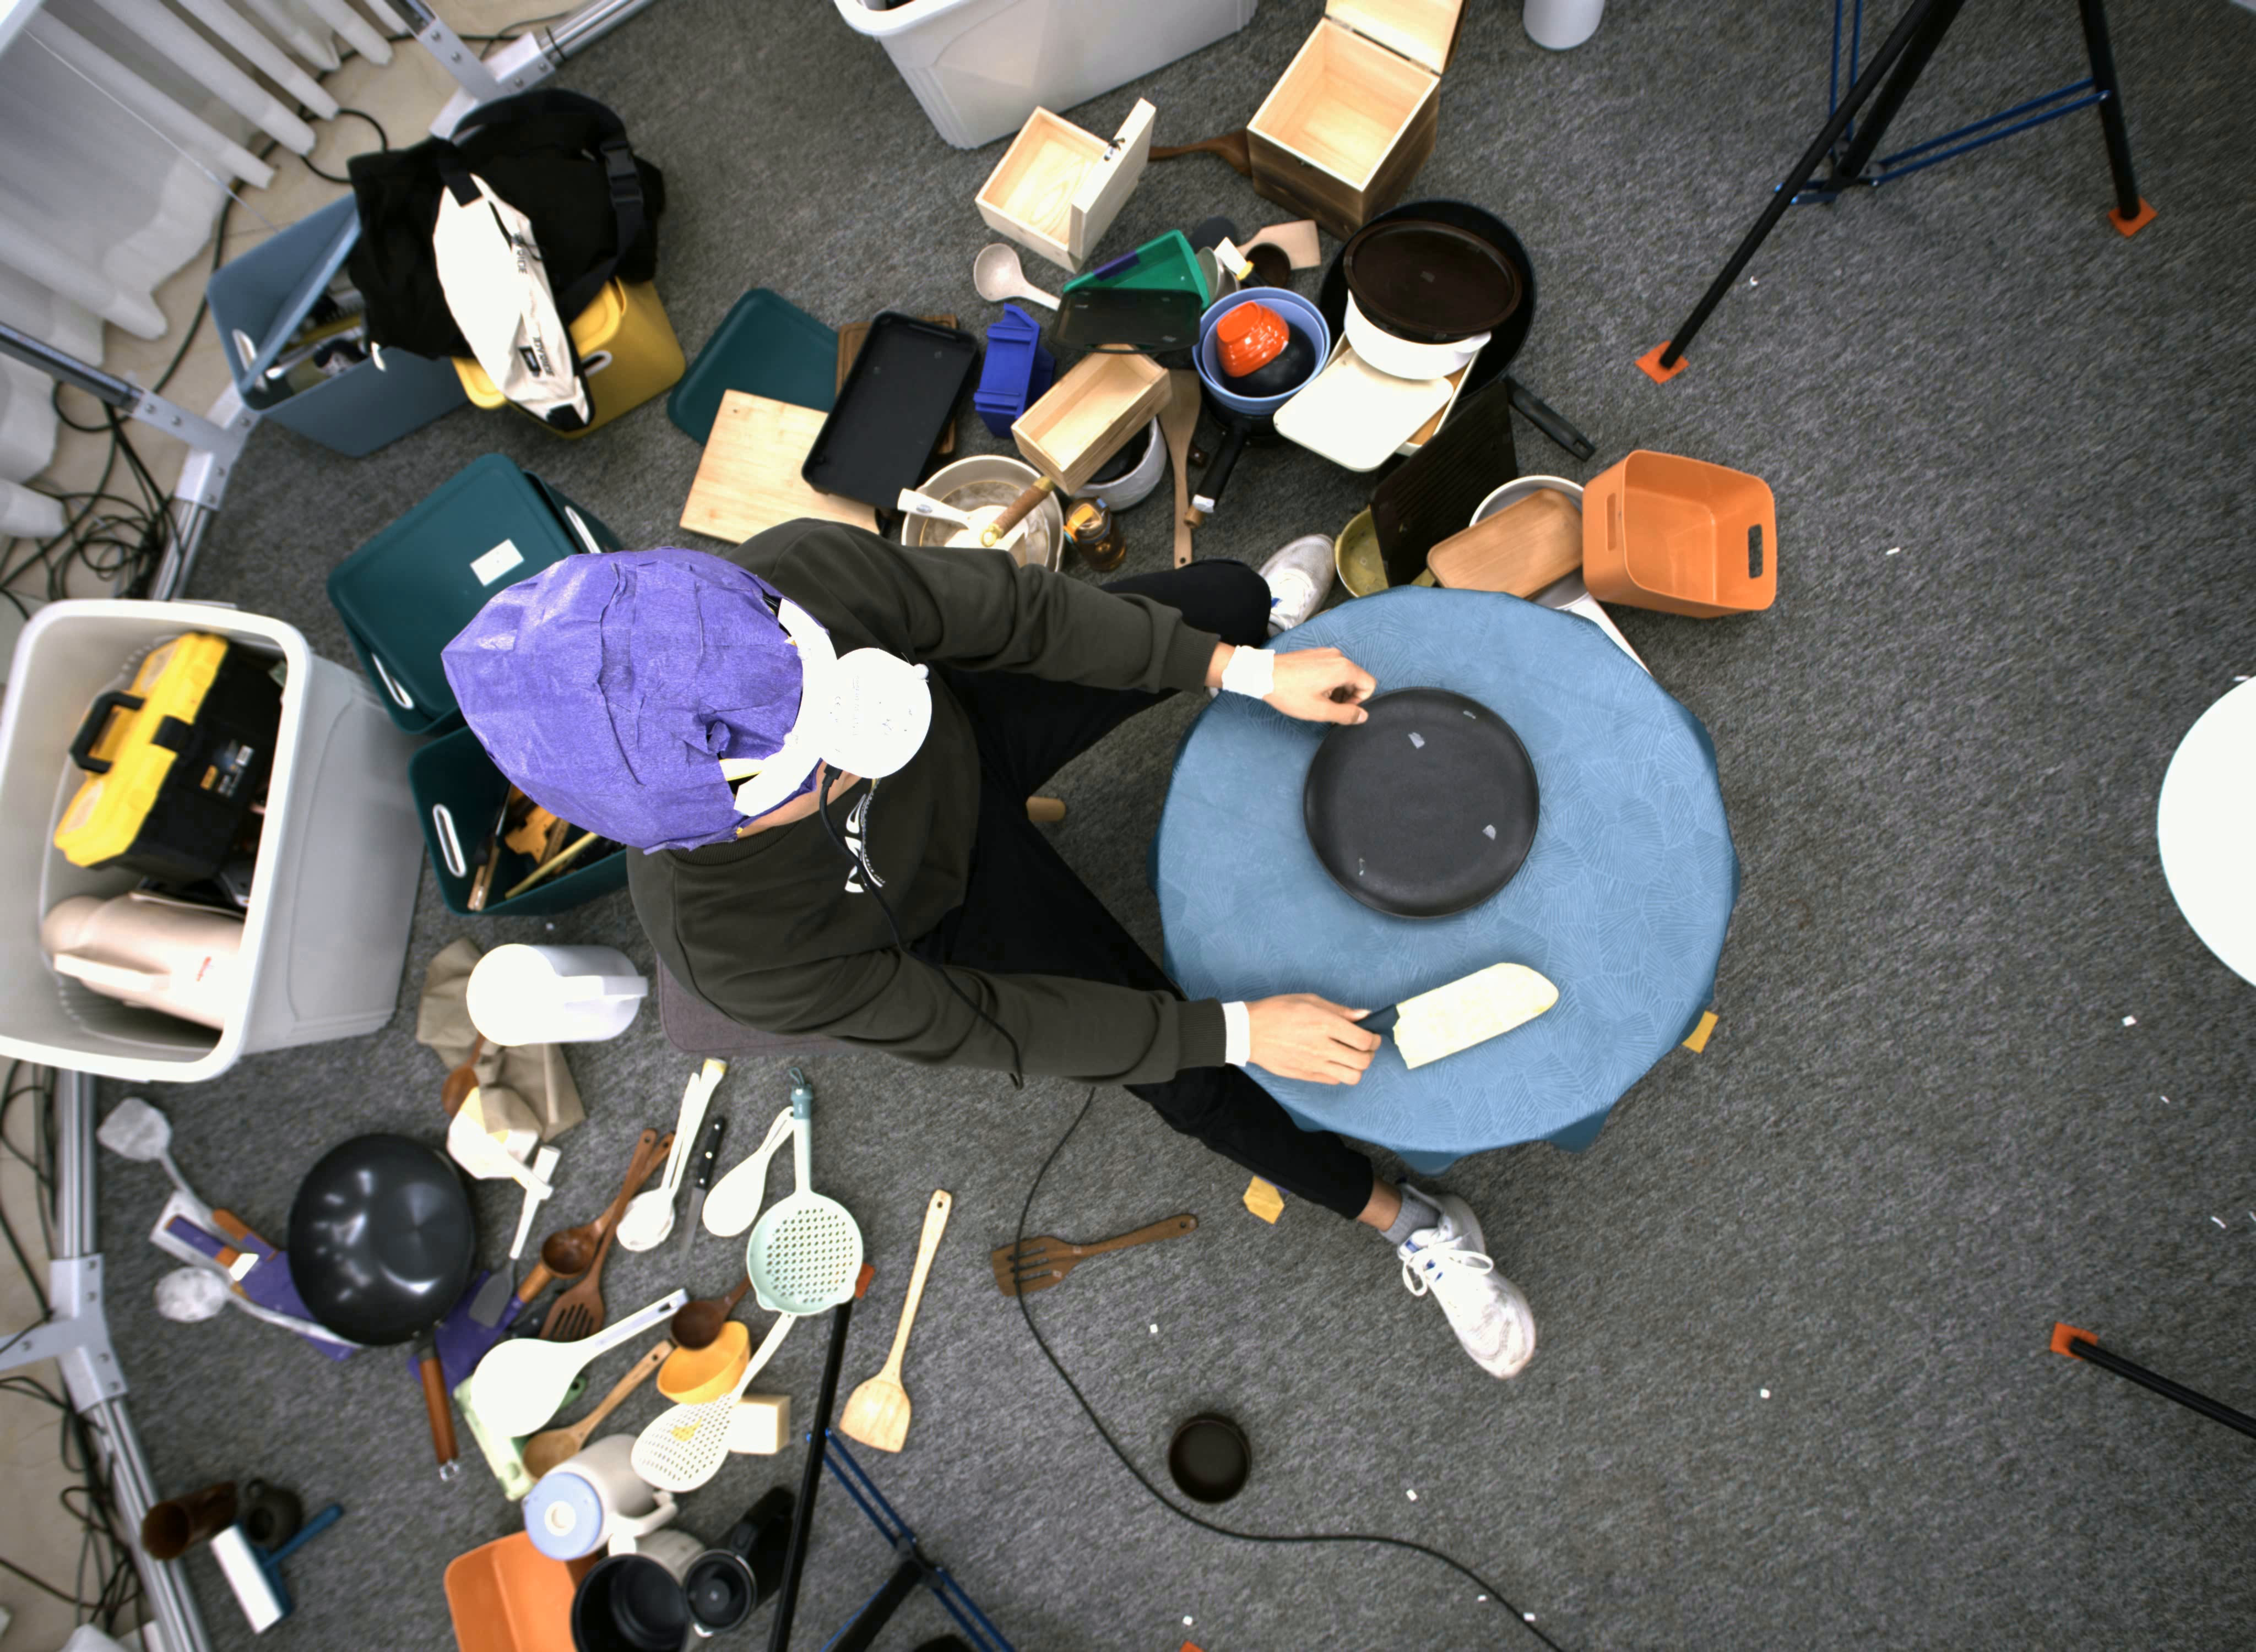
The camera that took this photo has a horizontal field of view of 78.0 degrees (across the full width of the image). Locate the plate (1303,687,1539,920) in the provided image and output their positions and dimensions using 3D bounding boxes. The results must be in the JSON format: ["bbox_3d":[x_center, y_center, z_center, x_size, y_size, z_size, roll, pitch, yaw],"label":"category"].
[{"bbox_3d":[0.305,-0.024,1.438,0.245,0.023,0.244,0,91,7],"label":"plate"}]

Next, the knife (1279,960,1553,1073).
[{"bbox_3d":[0.296,0.205,1.416,0.291,0.027,0.082,-21,103,12],"label":"knife"}]
